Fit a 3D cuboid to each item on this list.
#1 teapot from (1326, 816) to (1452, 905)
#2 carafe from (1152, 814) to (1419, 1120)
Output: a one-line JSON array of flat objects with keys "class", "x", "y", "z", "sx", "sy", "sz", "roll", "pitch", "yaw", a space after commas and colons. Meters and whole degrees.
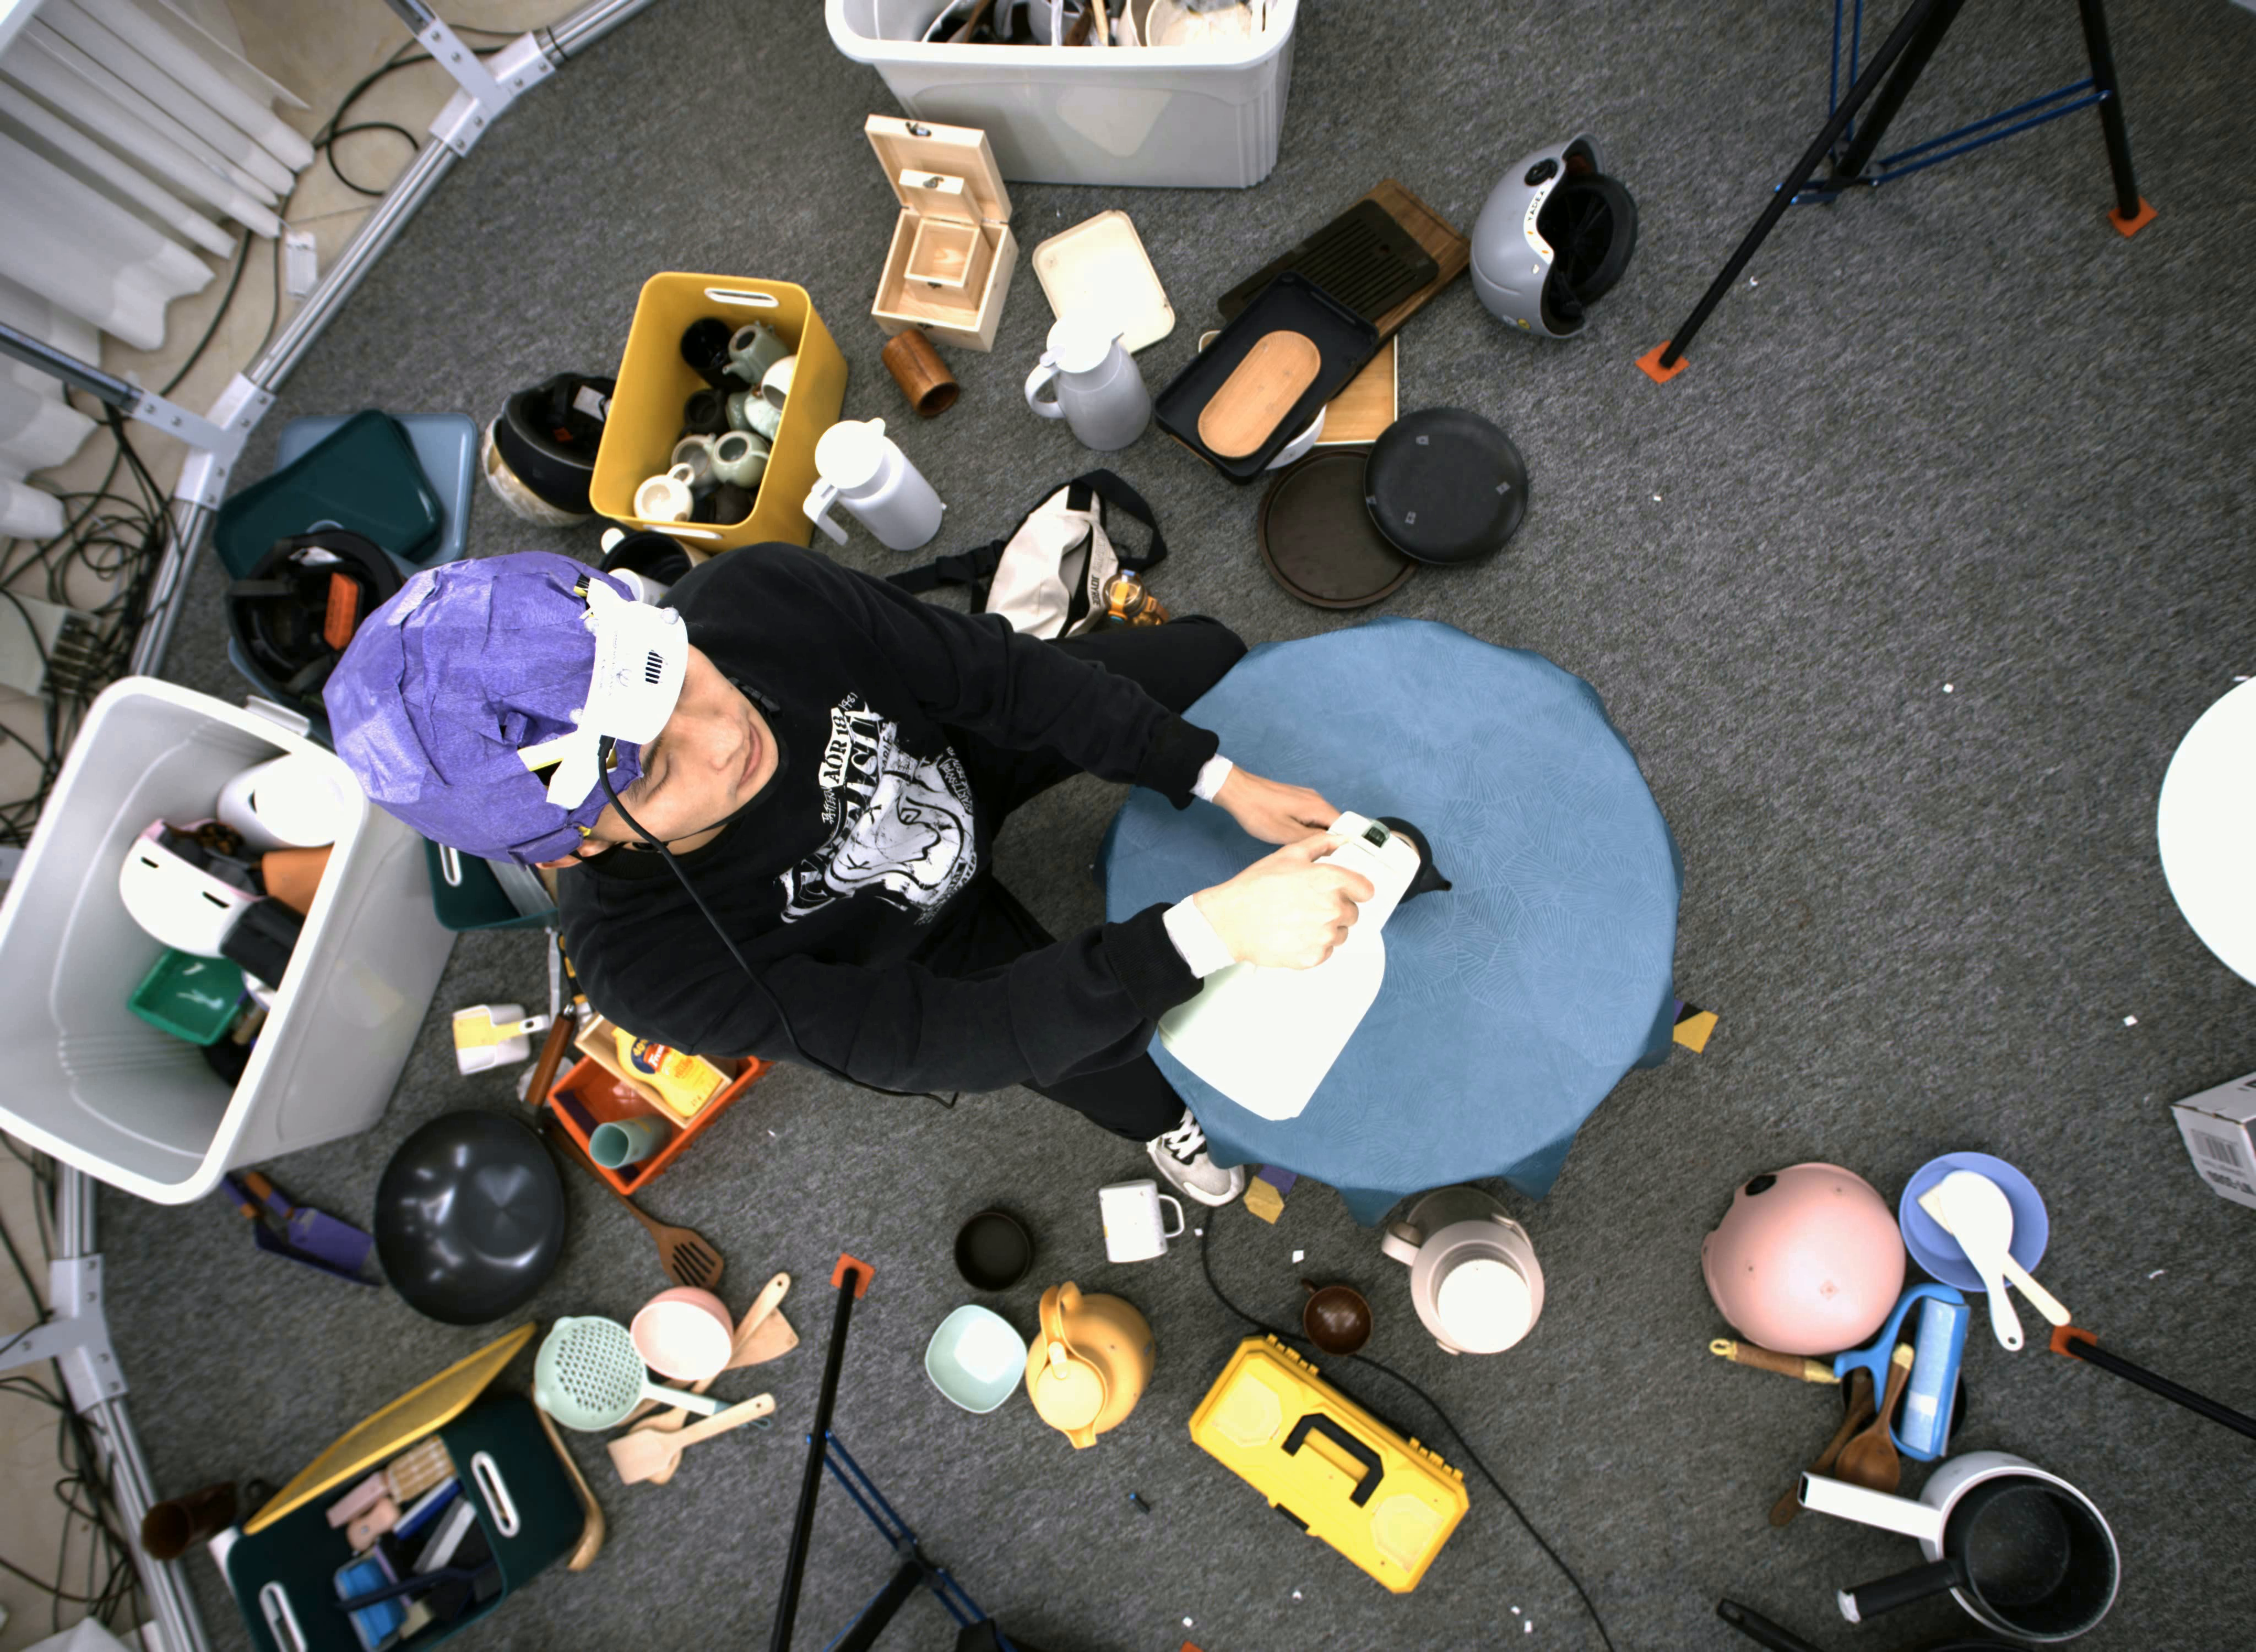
[{"class": "teapot", "x": 0.262, "y": 0.033, "z": 1.393, "sx": 0.133, "sy": 0.053, "sz": 0.091, "roll": 24, "pitch": 90, "yaw": 5}, {"class": "carafe", "x": 0.140, "y": 0.109, "z": 1.160, "sx": 0.143, "sy": 0.187, "sz": 0.258, "roll": 36, "pitch": 96, "yaw": 15}]
